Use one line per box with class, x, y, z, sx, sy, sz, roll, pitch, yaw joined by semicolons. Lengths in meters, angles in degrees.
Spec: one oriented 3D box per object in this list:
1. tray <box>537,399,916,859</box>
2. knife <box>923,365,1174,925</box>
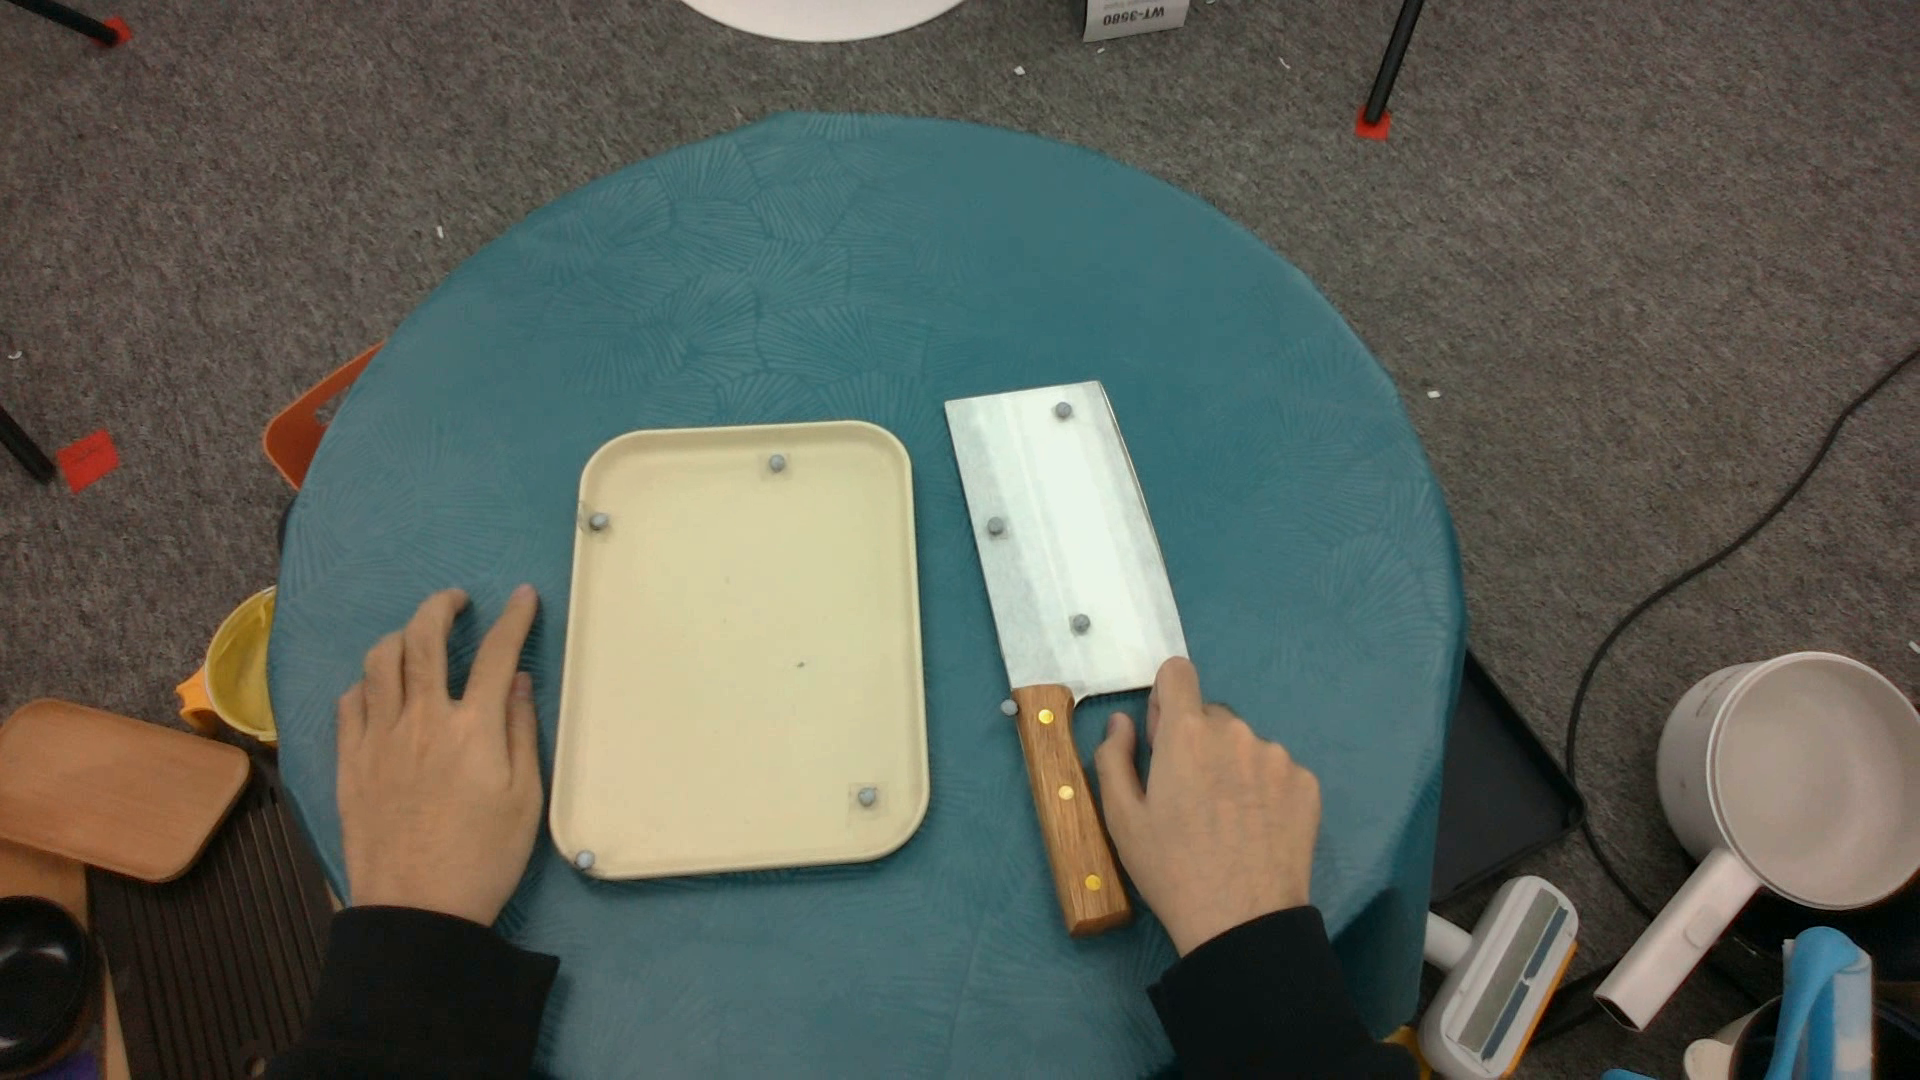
tray;-0.112;0.036;0.670;0.171;0.017;0.240;-3;60;-4
knife;0.053;0.033;0.679;0.093;0.021;0.307;-9;58;-8
